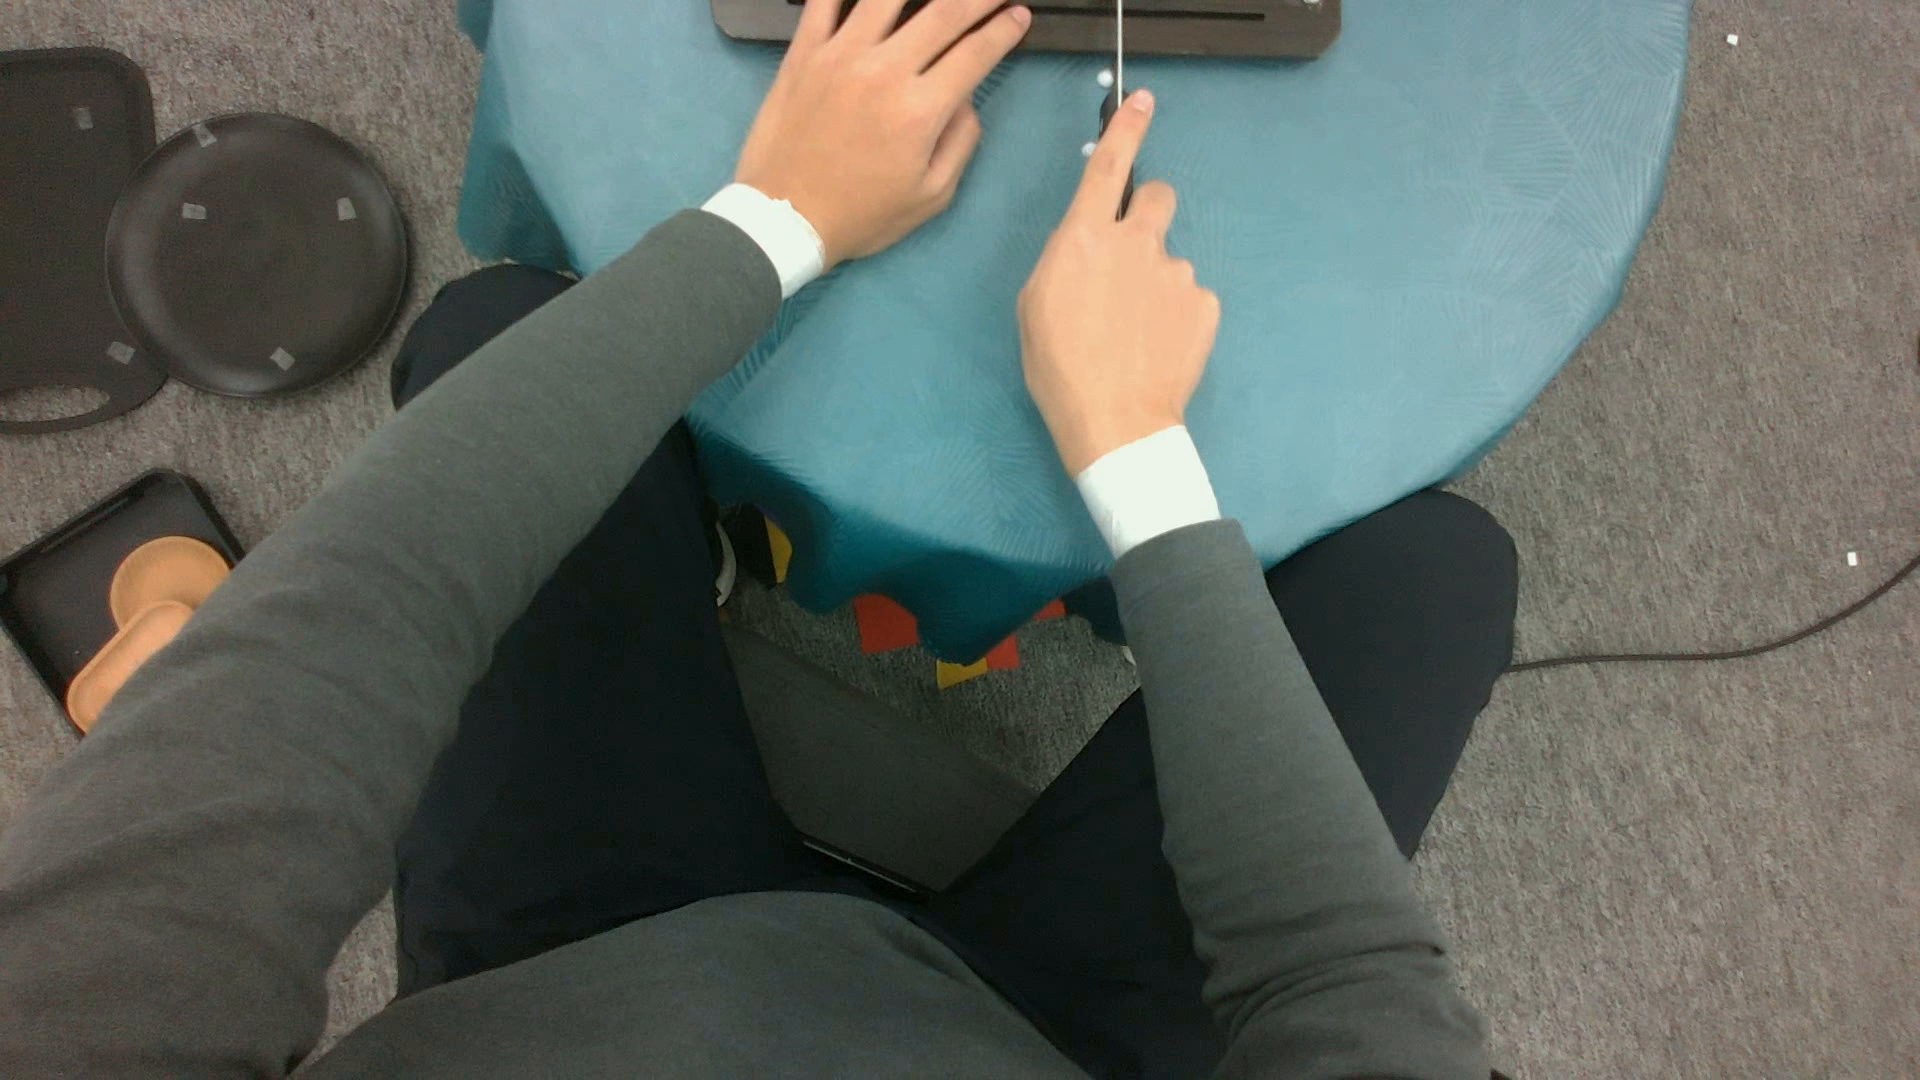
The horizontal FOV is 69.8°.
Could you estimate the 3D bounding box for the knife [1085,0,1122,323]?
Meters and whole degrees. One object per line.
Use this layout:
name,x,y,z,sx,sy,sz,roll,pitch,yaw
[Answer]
knife,0.066,-0.221,0.650,0.016,0.024,0.238,0,83,-2

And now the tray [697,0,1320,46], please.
tray,0.025,-0.329,0.673,0.306,0.018,0.170,0,88,-6
